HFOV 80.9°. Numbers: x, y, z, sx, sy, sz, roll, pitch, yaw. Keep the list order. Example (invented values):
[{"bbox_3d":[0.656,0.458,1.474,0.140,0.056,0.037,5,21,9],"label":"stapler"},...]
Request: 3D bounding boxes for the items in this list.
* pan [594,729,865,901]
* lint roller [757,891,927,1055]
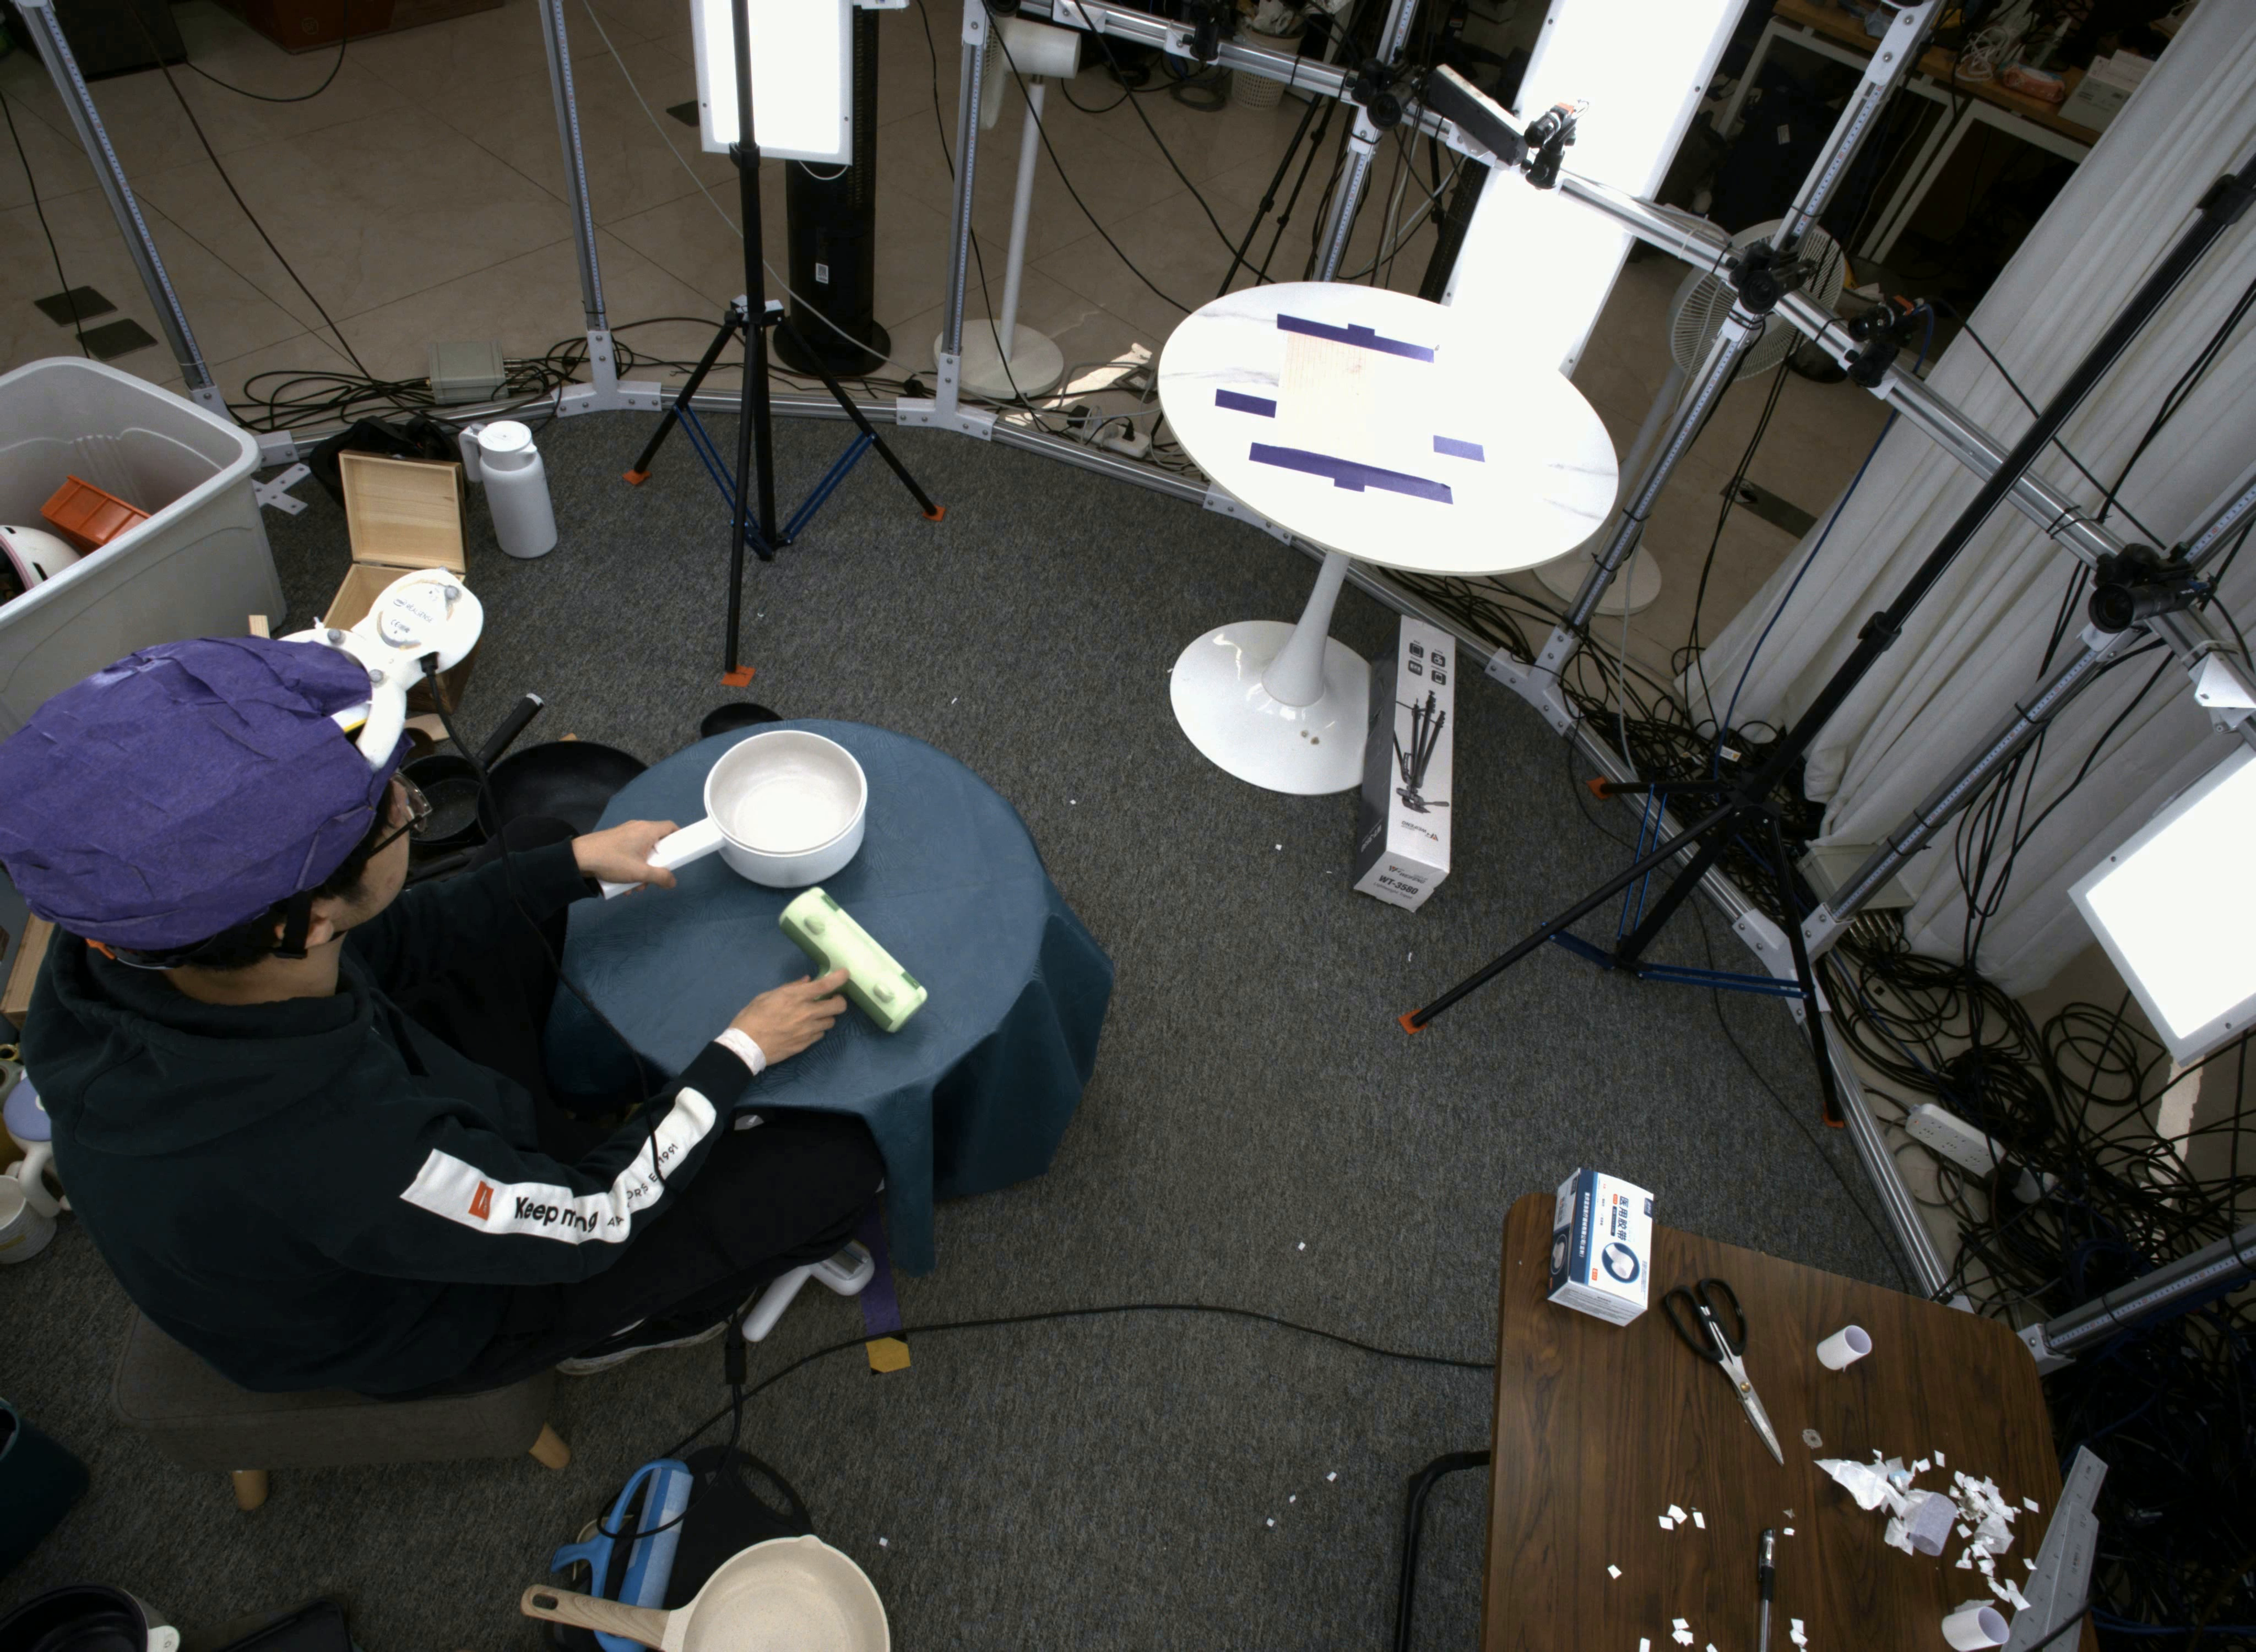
[{"bbox_3d":[-0.500,0.015,1.637,0.356,0.104,0.197,-29,66,-28],"label":"pan"},{"bbox_3d":[-0.366,0.193,1.533,0.197,0.082,0.183,43,58,4],"label":"lint roller"}]
